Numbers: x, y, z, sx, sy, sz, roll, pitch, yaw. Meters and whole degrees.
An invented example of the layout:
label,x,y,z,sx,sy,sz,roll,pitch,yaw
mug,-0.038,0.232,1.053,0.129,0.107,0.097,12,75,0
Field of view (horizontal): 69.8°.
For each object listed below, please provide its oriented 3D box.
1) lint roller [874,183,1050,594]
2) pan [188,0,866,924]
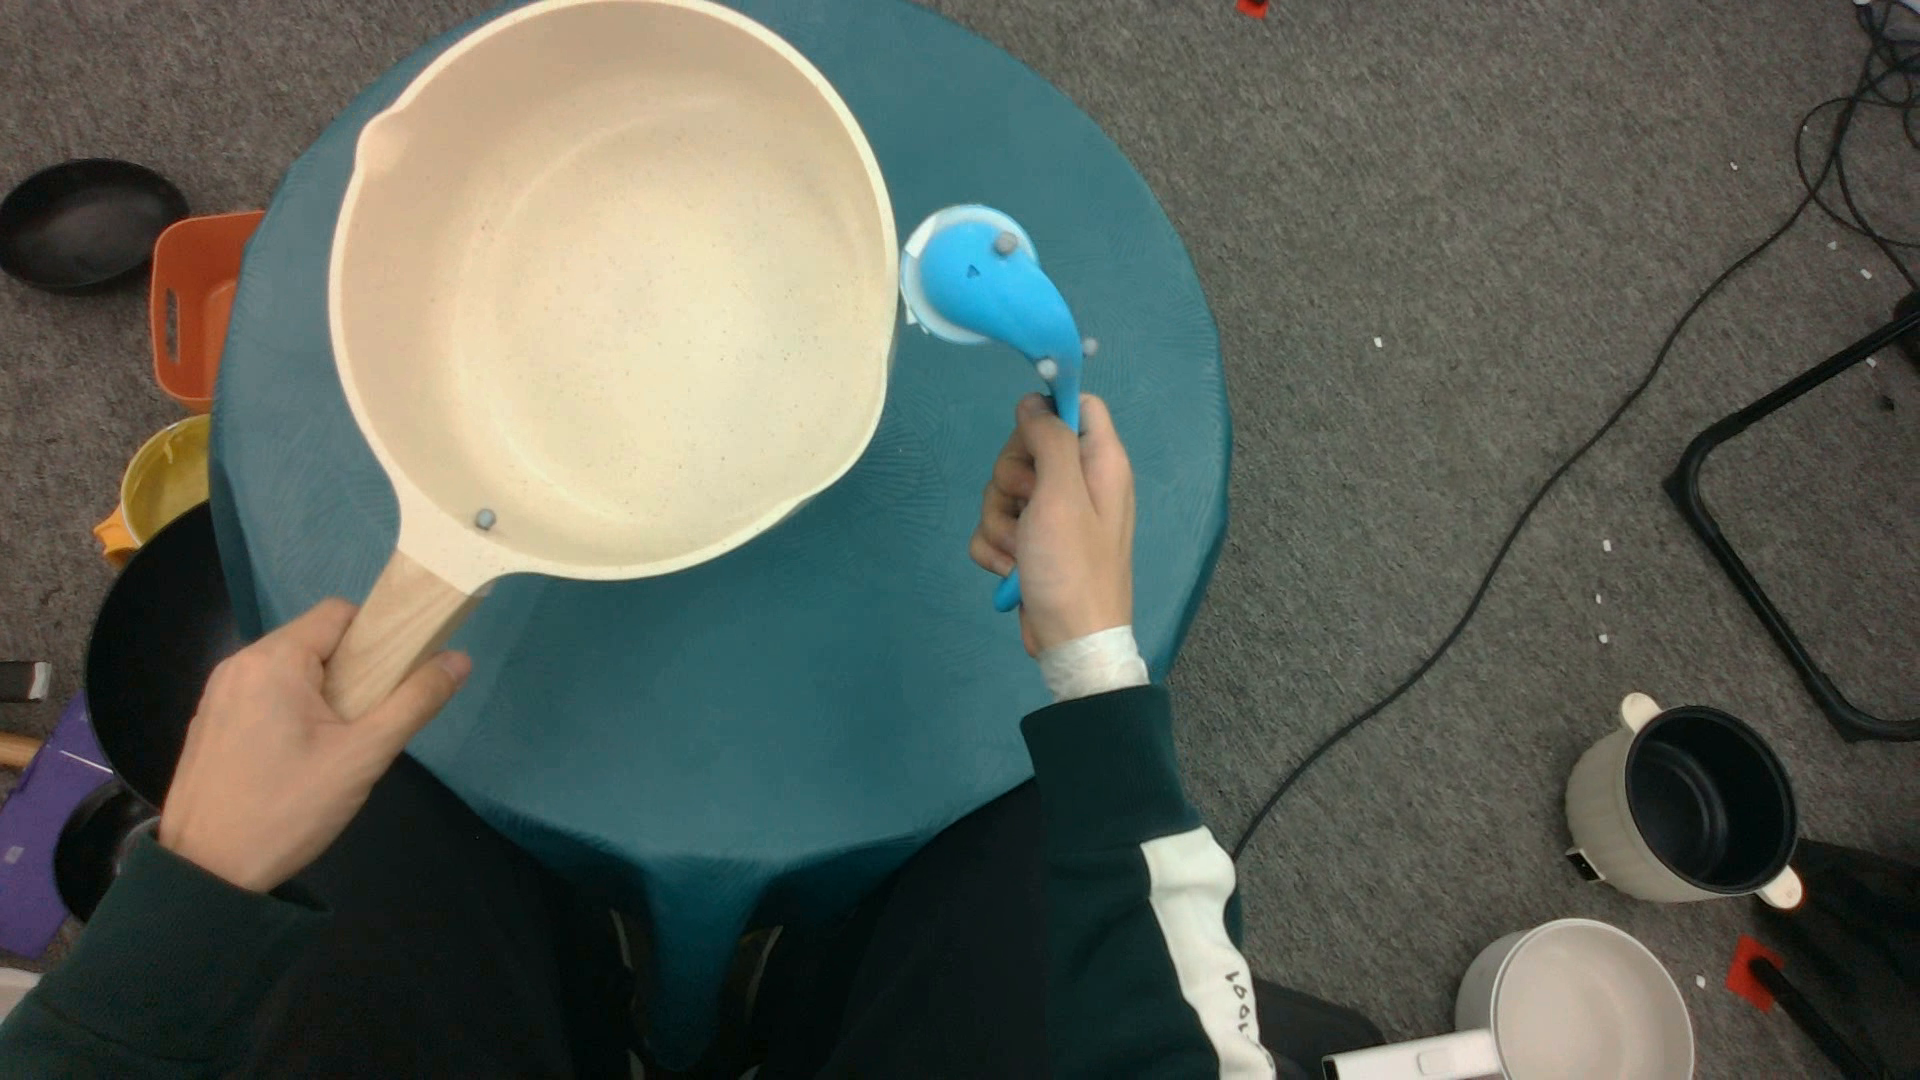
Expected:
label,x,y,z,sx,sy,sz,roll,pitch,yaw
lint roller,0.007,-0.069,0.629,0.068,0.229,0.180,-16,102,-1
pan,-0.206,-0.032,0.618,0.263,0.102,0.435,30,91,6
